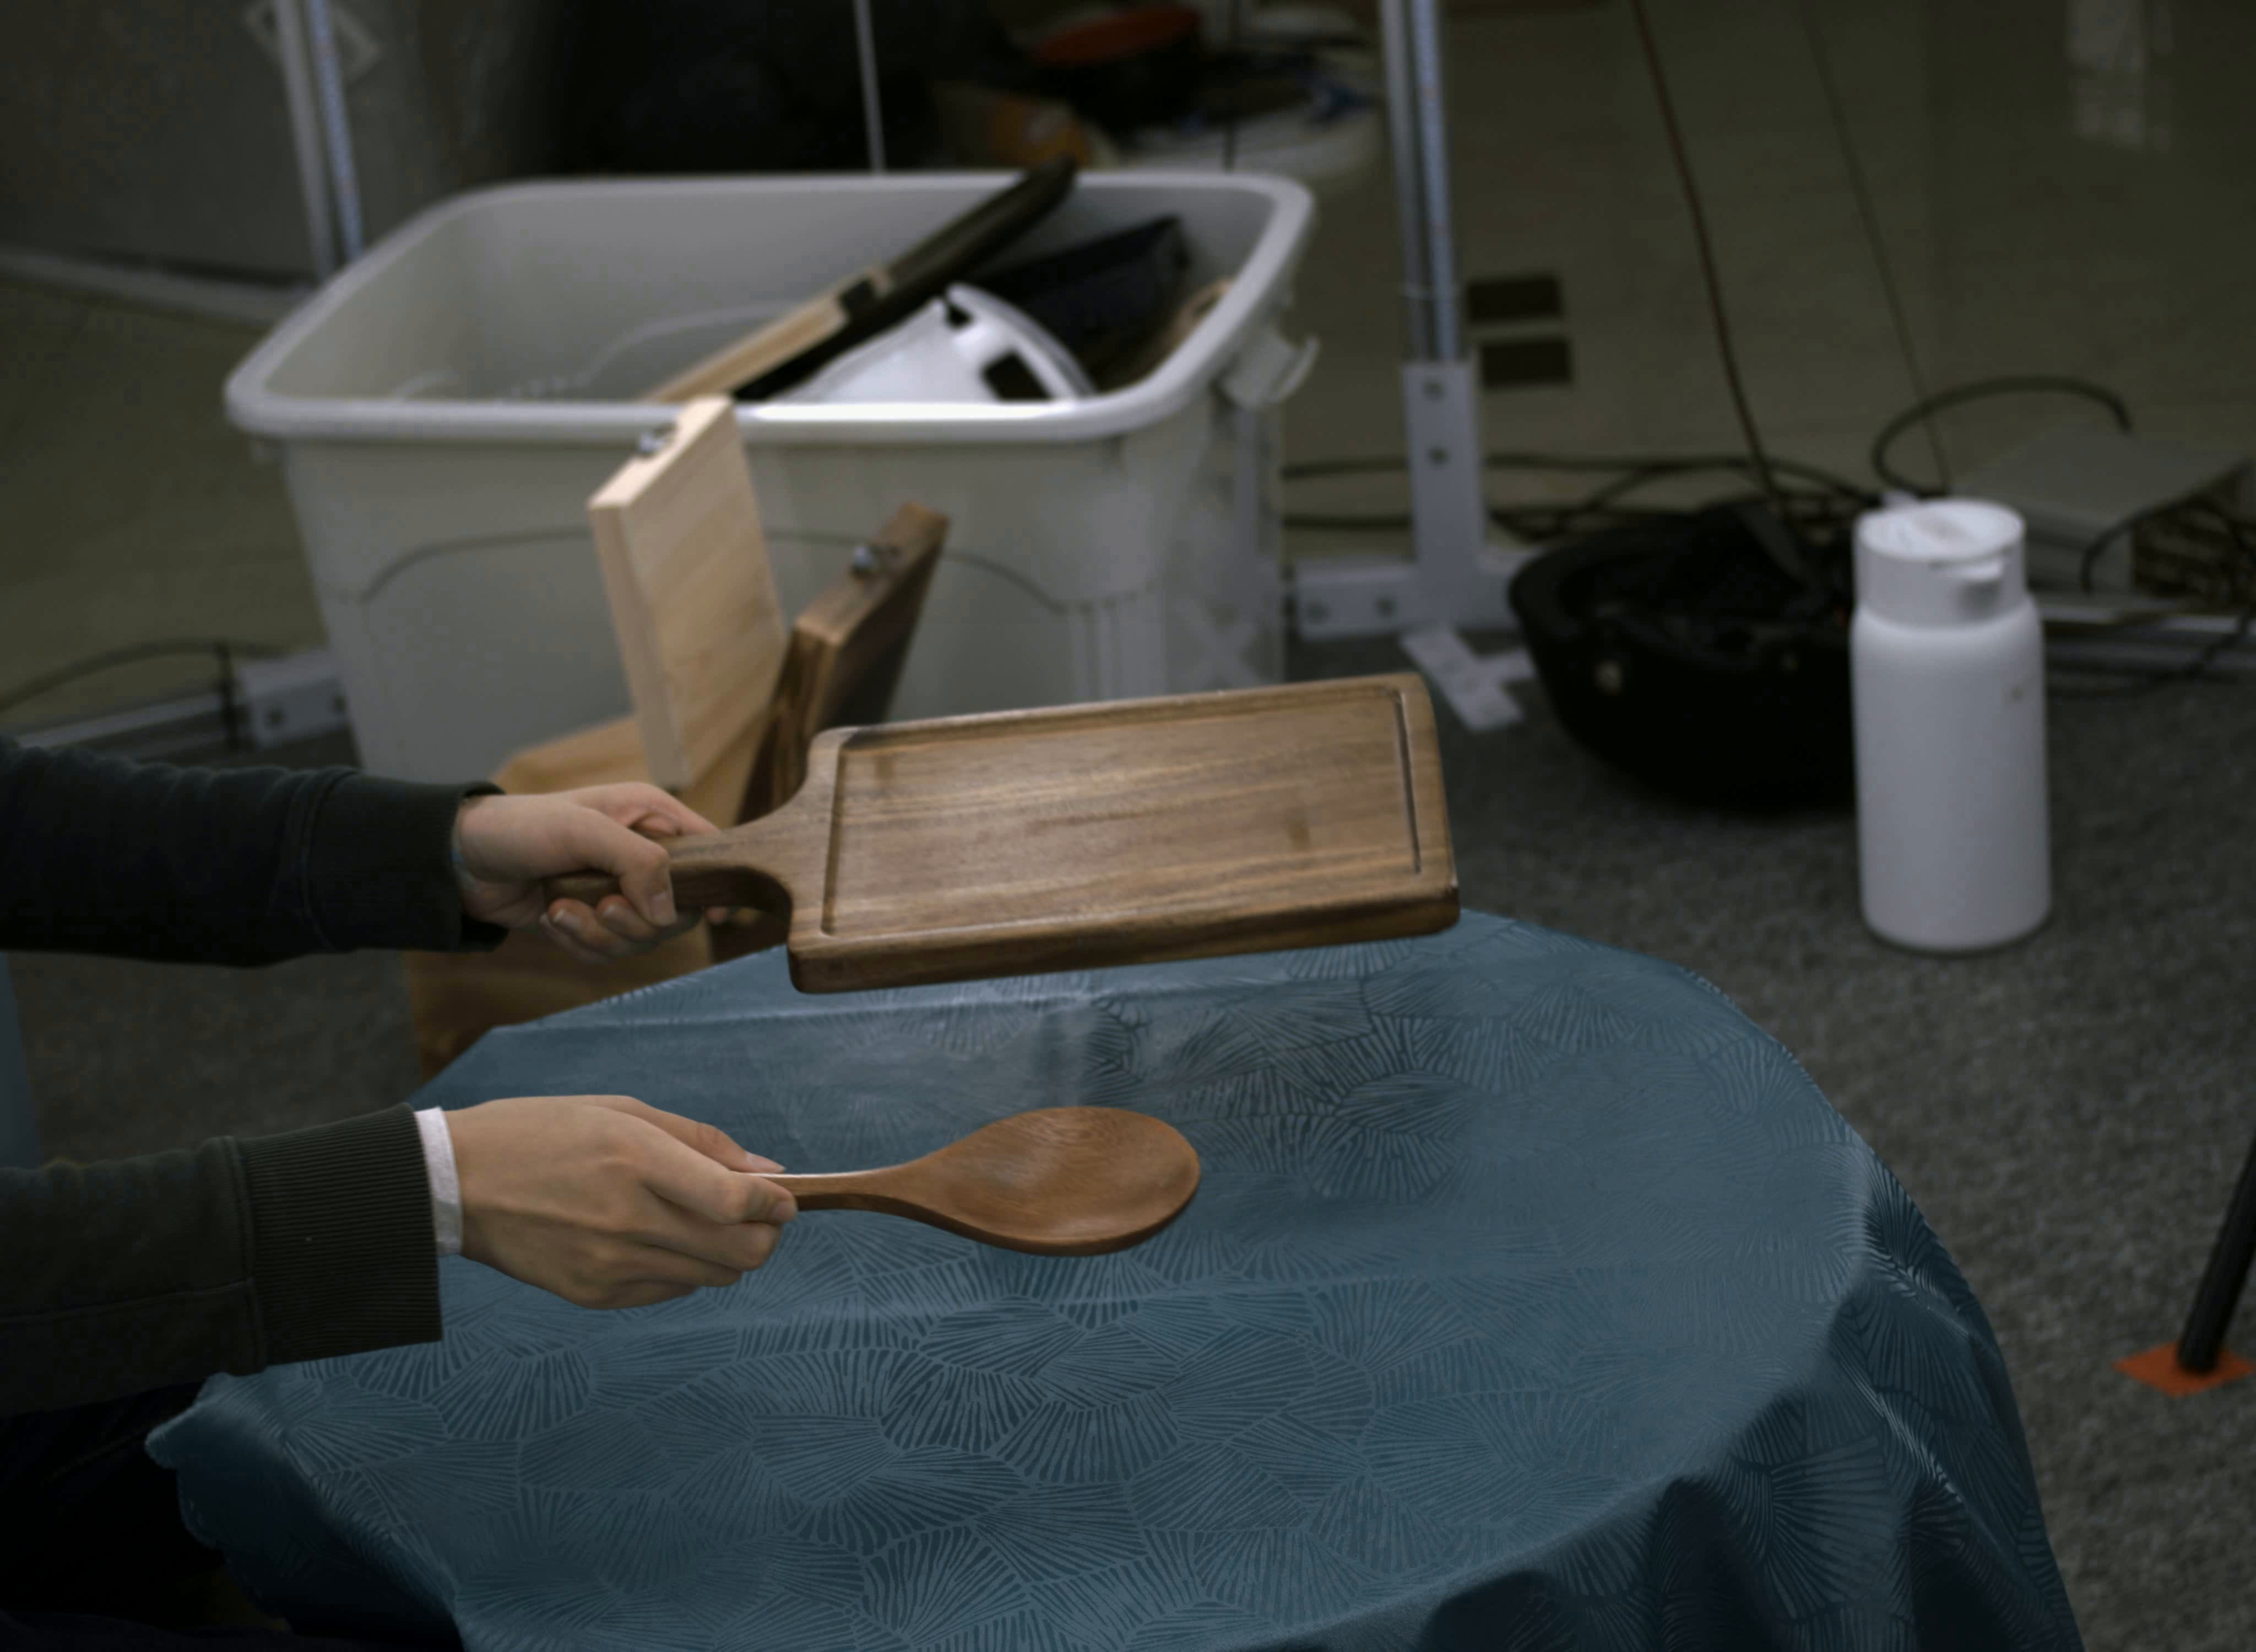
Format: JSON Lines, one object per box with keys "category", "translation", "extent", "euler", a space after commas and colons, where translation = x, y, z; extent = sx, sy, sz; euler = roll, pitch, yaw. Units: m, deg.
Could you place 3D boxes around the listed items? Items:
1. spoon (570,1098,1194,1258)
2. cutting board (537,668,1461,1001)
{"category": "spoon", "translation": [-0.085, 0.125, 1.950], "extent": [0.215, 0.017, 0.074], "euler": [-1, 40, 3]}
{"category": "cutting board", "translation": [-0.053, 0.006, 2.181], "extent": [0.351, 0.023, 0.198], "euler": [-6, 28, 2]}
